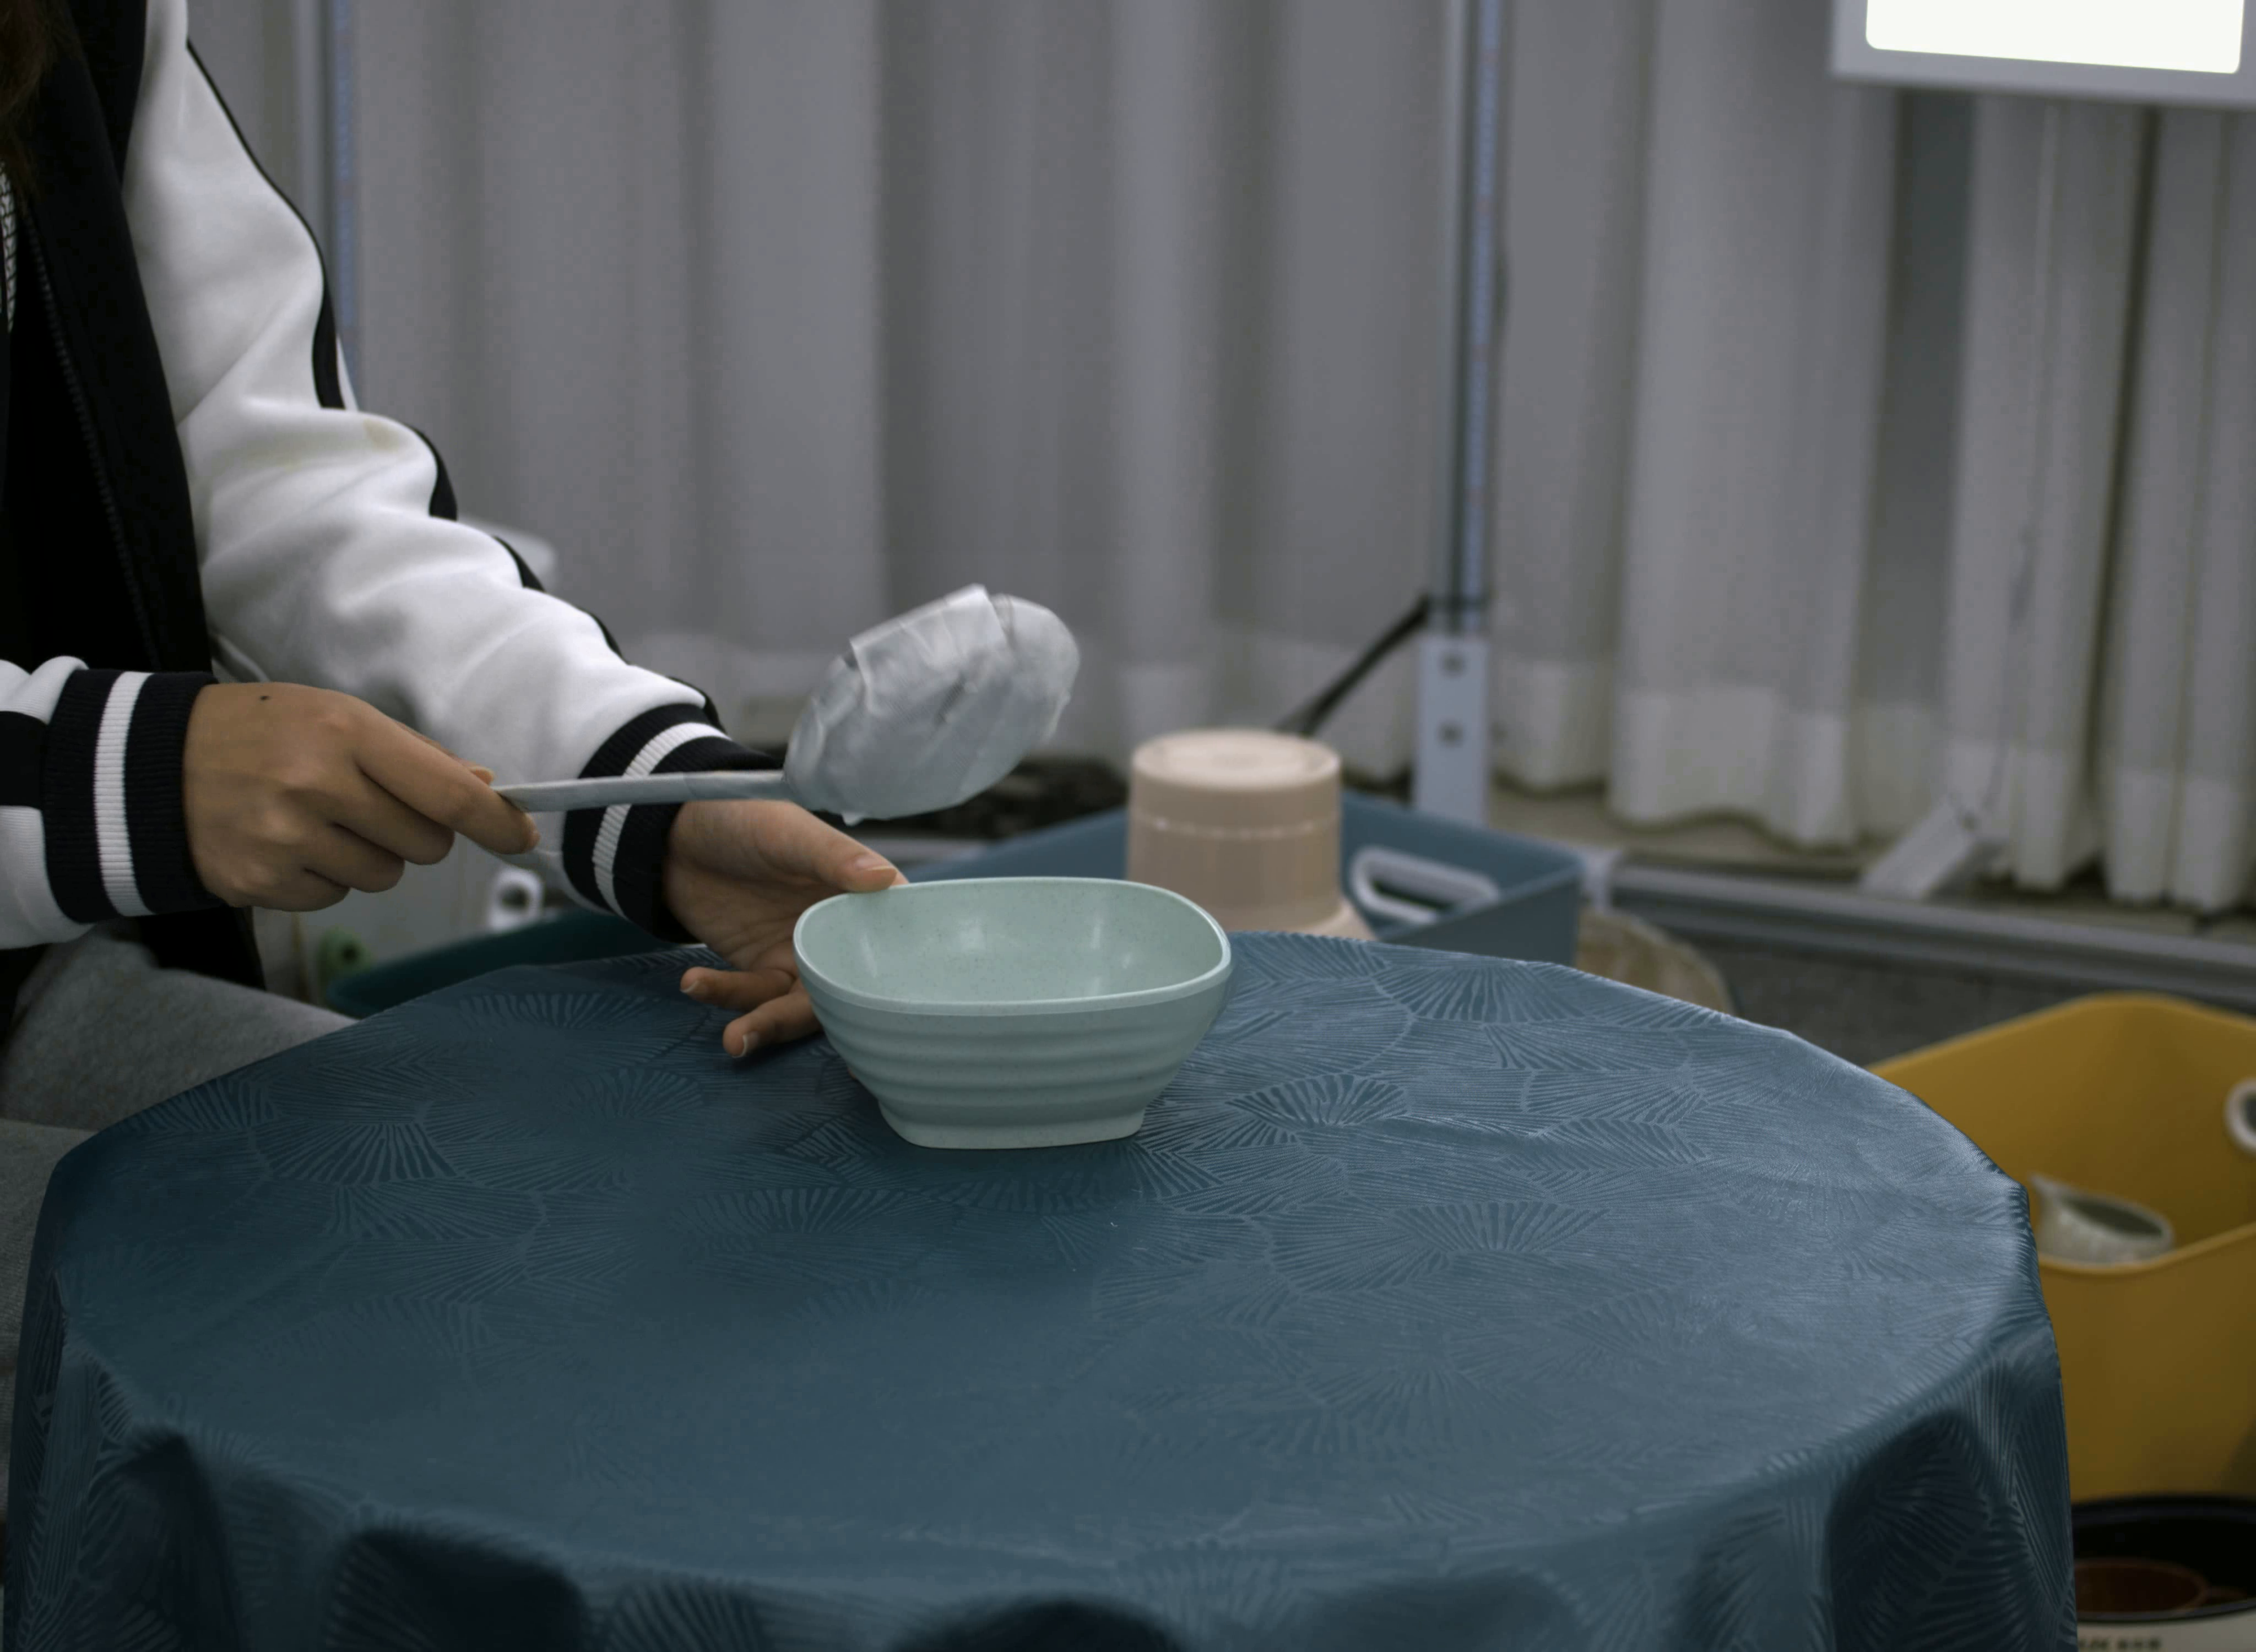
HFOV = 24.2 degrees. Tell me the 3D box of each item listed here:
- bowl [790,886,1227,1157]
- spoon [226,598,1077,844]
[{"bbox_3d":[-0.038,0.066,1.690,0.151,0.059,0.150,1,15,0],"label":"bowl"},{"bbox_3d":[-0.150,-0.027,1.637,0.275,0.102,0.059,-3,58,19],"label":"spoon"}]
